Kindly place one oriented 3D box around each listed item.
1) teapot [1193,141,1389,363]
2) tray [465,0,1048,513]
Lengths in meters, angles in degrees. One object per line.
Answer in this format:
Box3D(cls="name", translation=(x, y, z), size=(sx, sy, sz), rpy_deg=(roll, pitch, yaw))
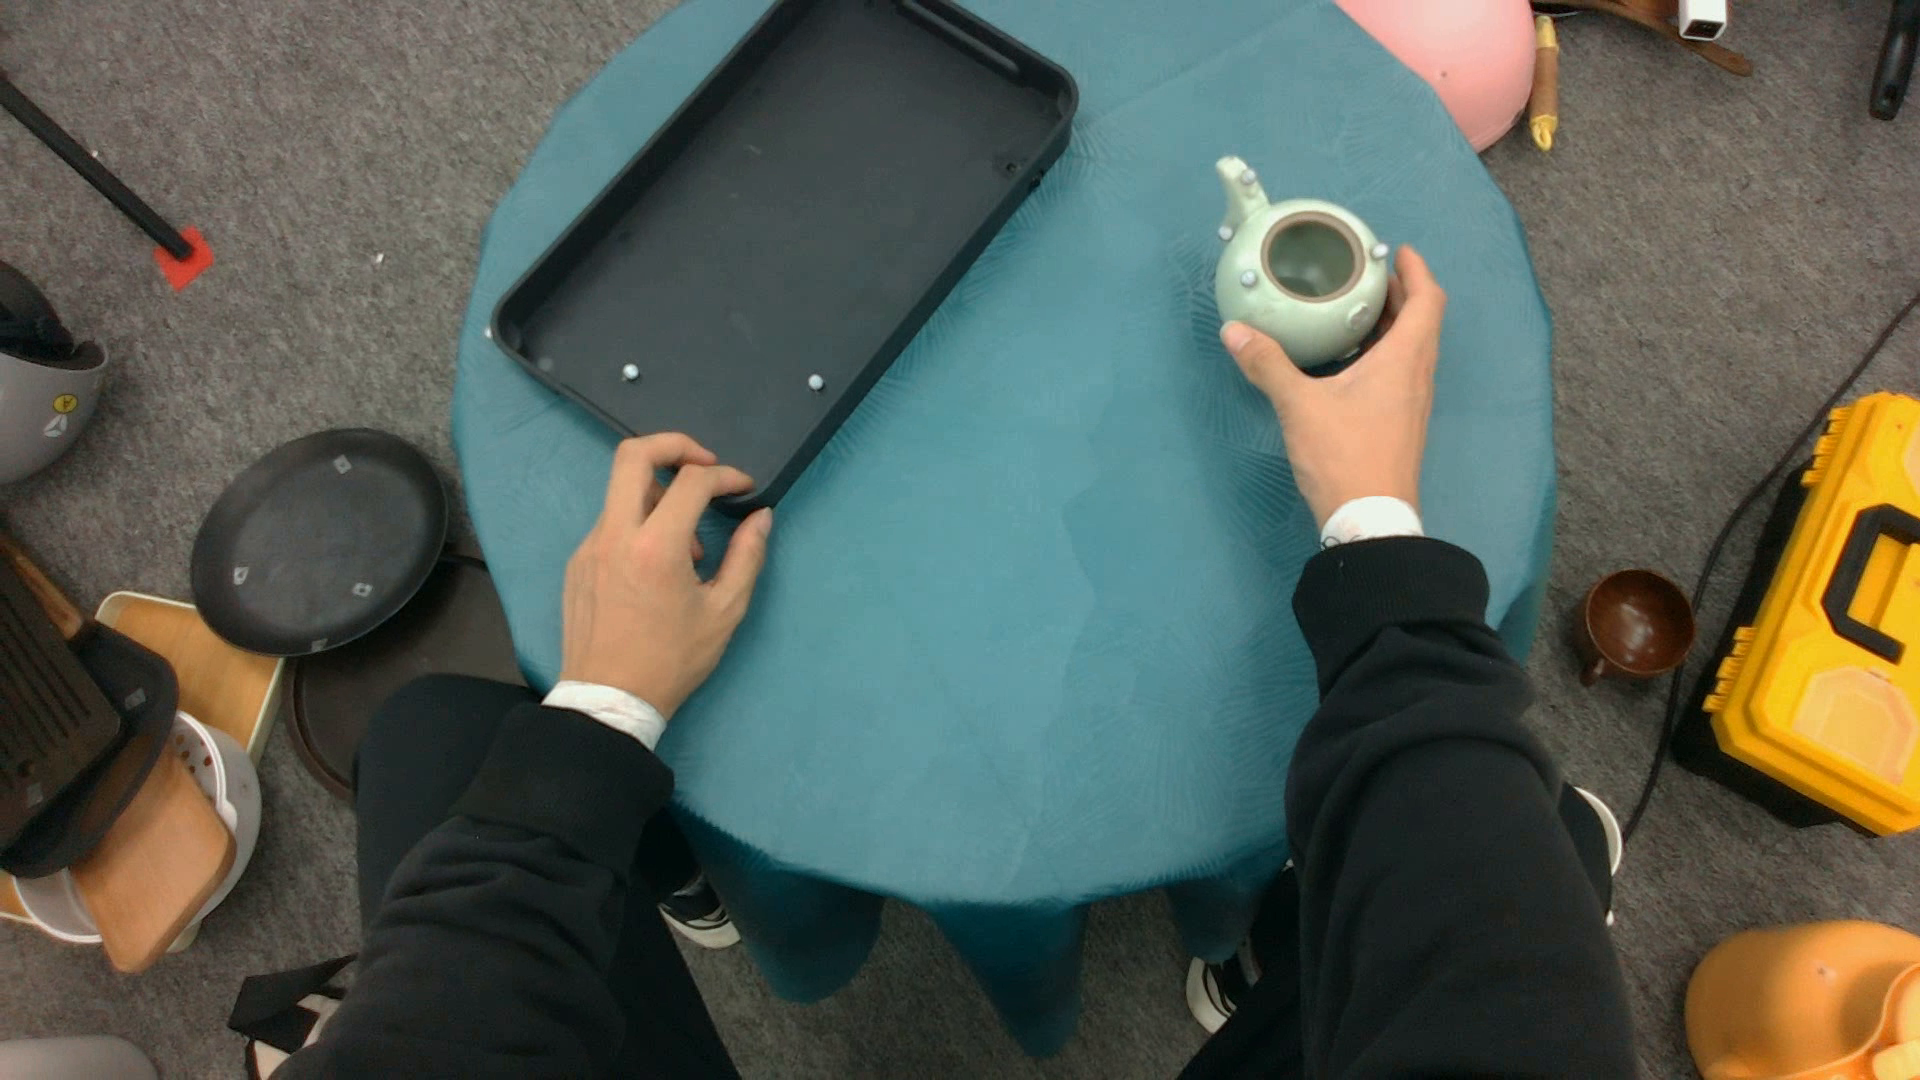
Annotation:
Box3D(cls="teapot", translation=(0.169, -0.144, 0.729), size=(0.088, 0.074, 0.144), rpy_deg=(-35, 73, -10))
Box3D(cls="tray", translation=(-0.106, -0.181, 0.763), size=(0.184, 0.037, 0.319), rpy_deg=(32, 75, 10))
